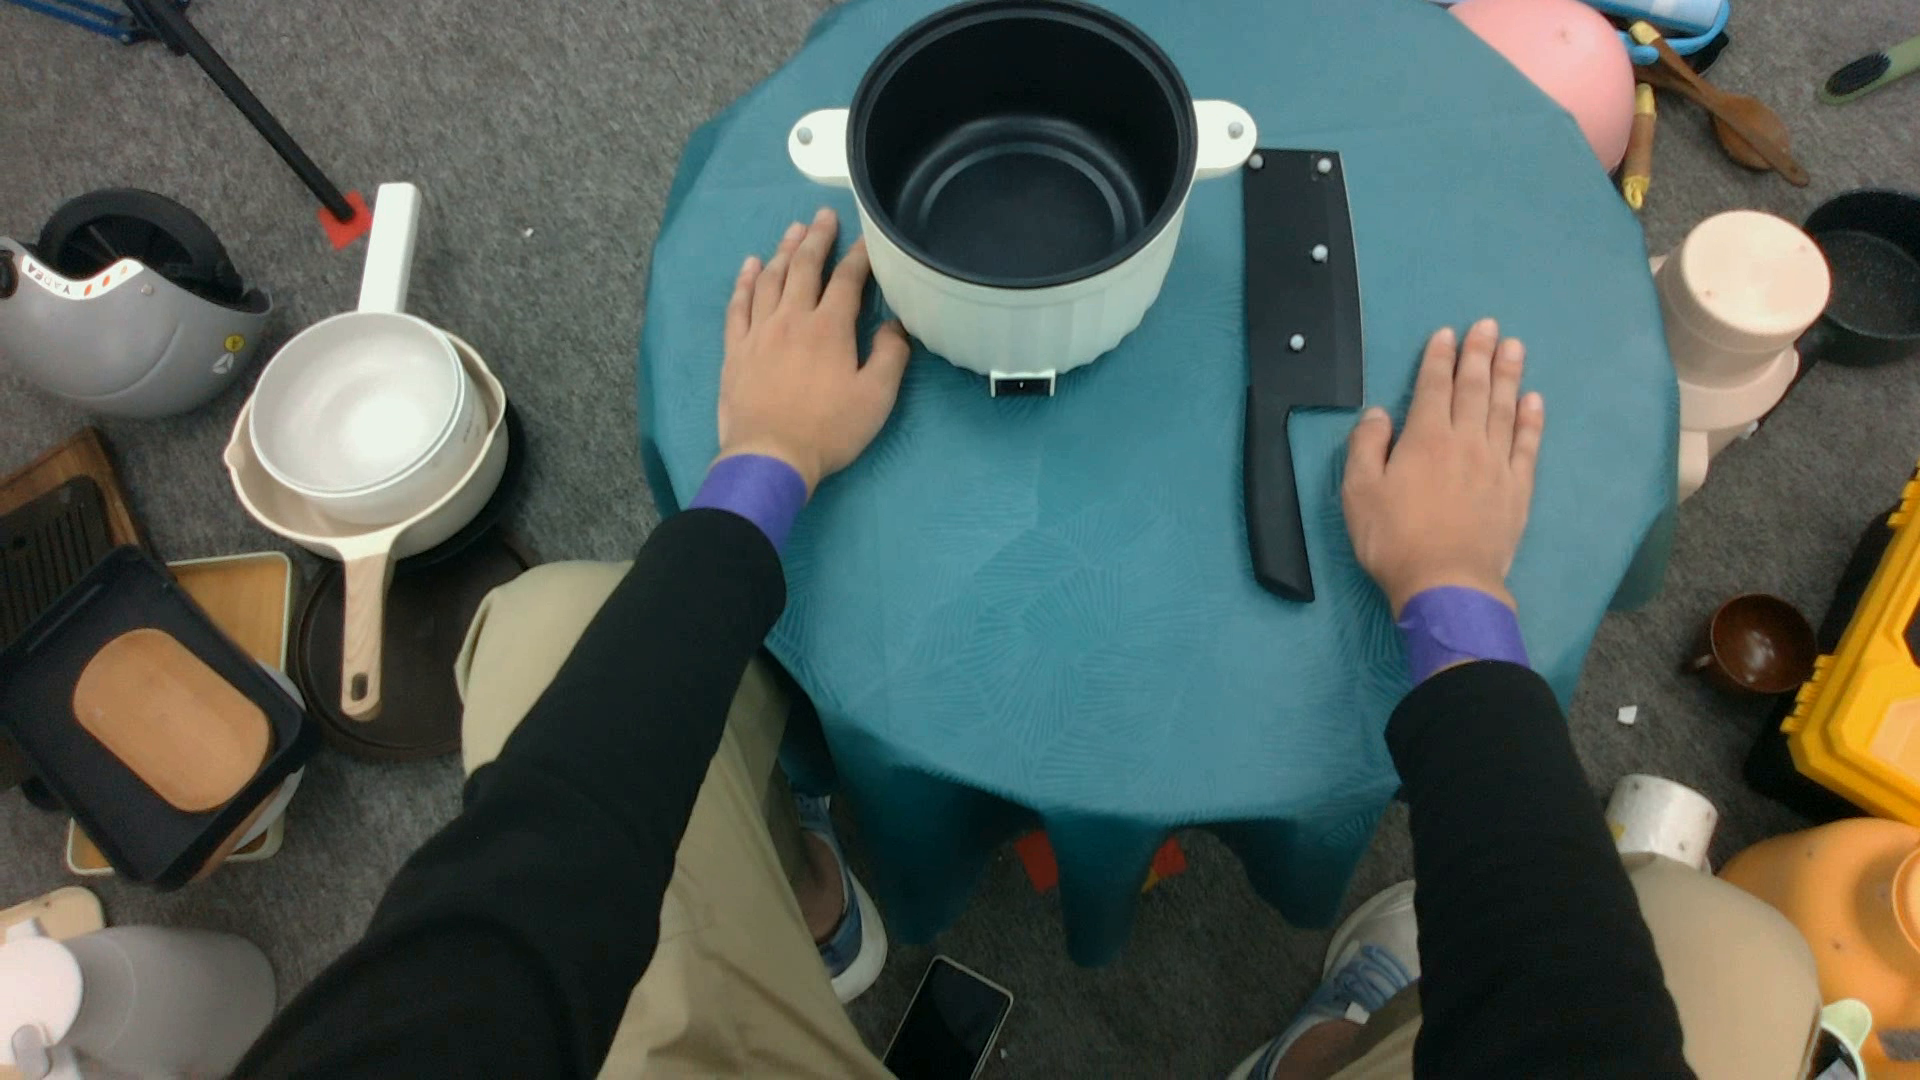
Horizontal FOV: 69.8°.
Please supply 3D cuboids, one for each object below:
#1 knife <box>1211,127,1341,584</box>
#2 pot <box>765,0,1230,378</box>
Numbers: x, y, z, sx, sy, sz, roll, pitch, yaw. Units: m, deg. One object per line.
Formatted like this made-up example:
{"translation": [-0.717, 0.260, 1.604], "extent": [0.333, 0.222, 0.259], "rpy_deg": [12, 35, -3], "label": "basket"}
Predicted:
{"translation": [0.182, -0.118, 0.802], "extent": [0.081, 0.021, 0.303], "rpy_deg": [6, 68, 2], "label": "knife"}
{"translation": [0.019, -0.202, 0.770], "extent": [0.240, 0.142, 0.191], "rpy_deg": [-2, 73, -1], "label": "pot"}
